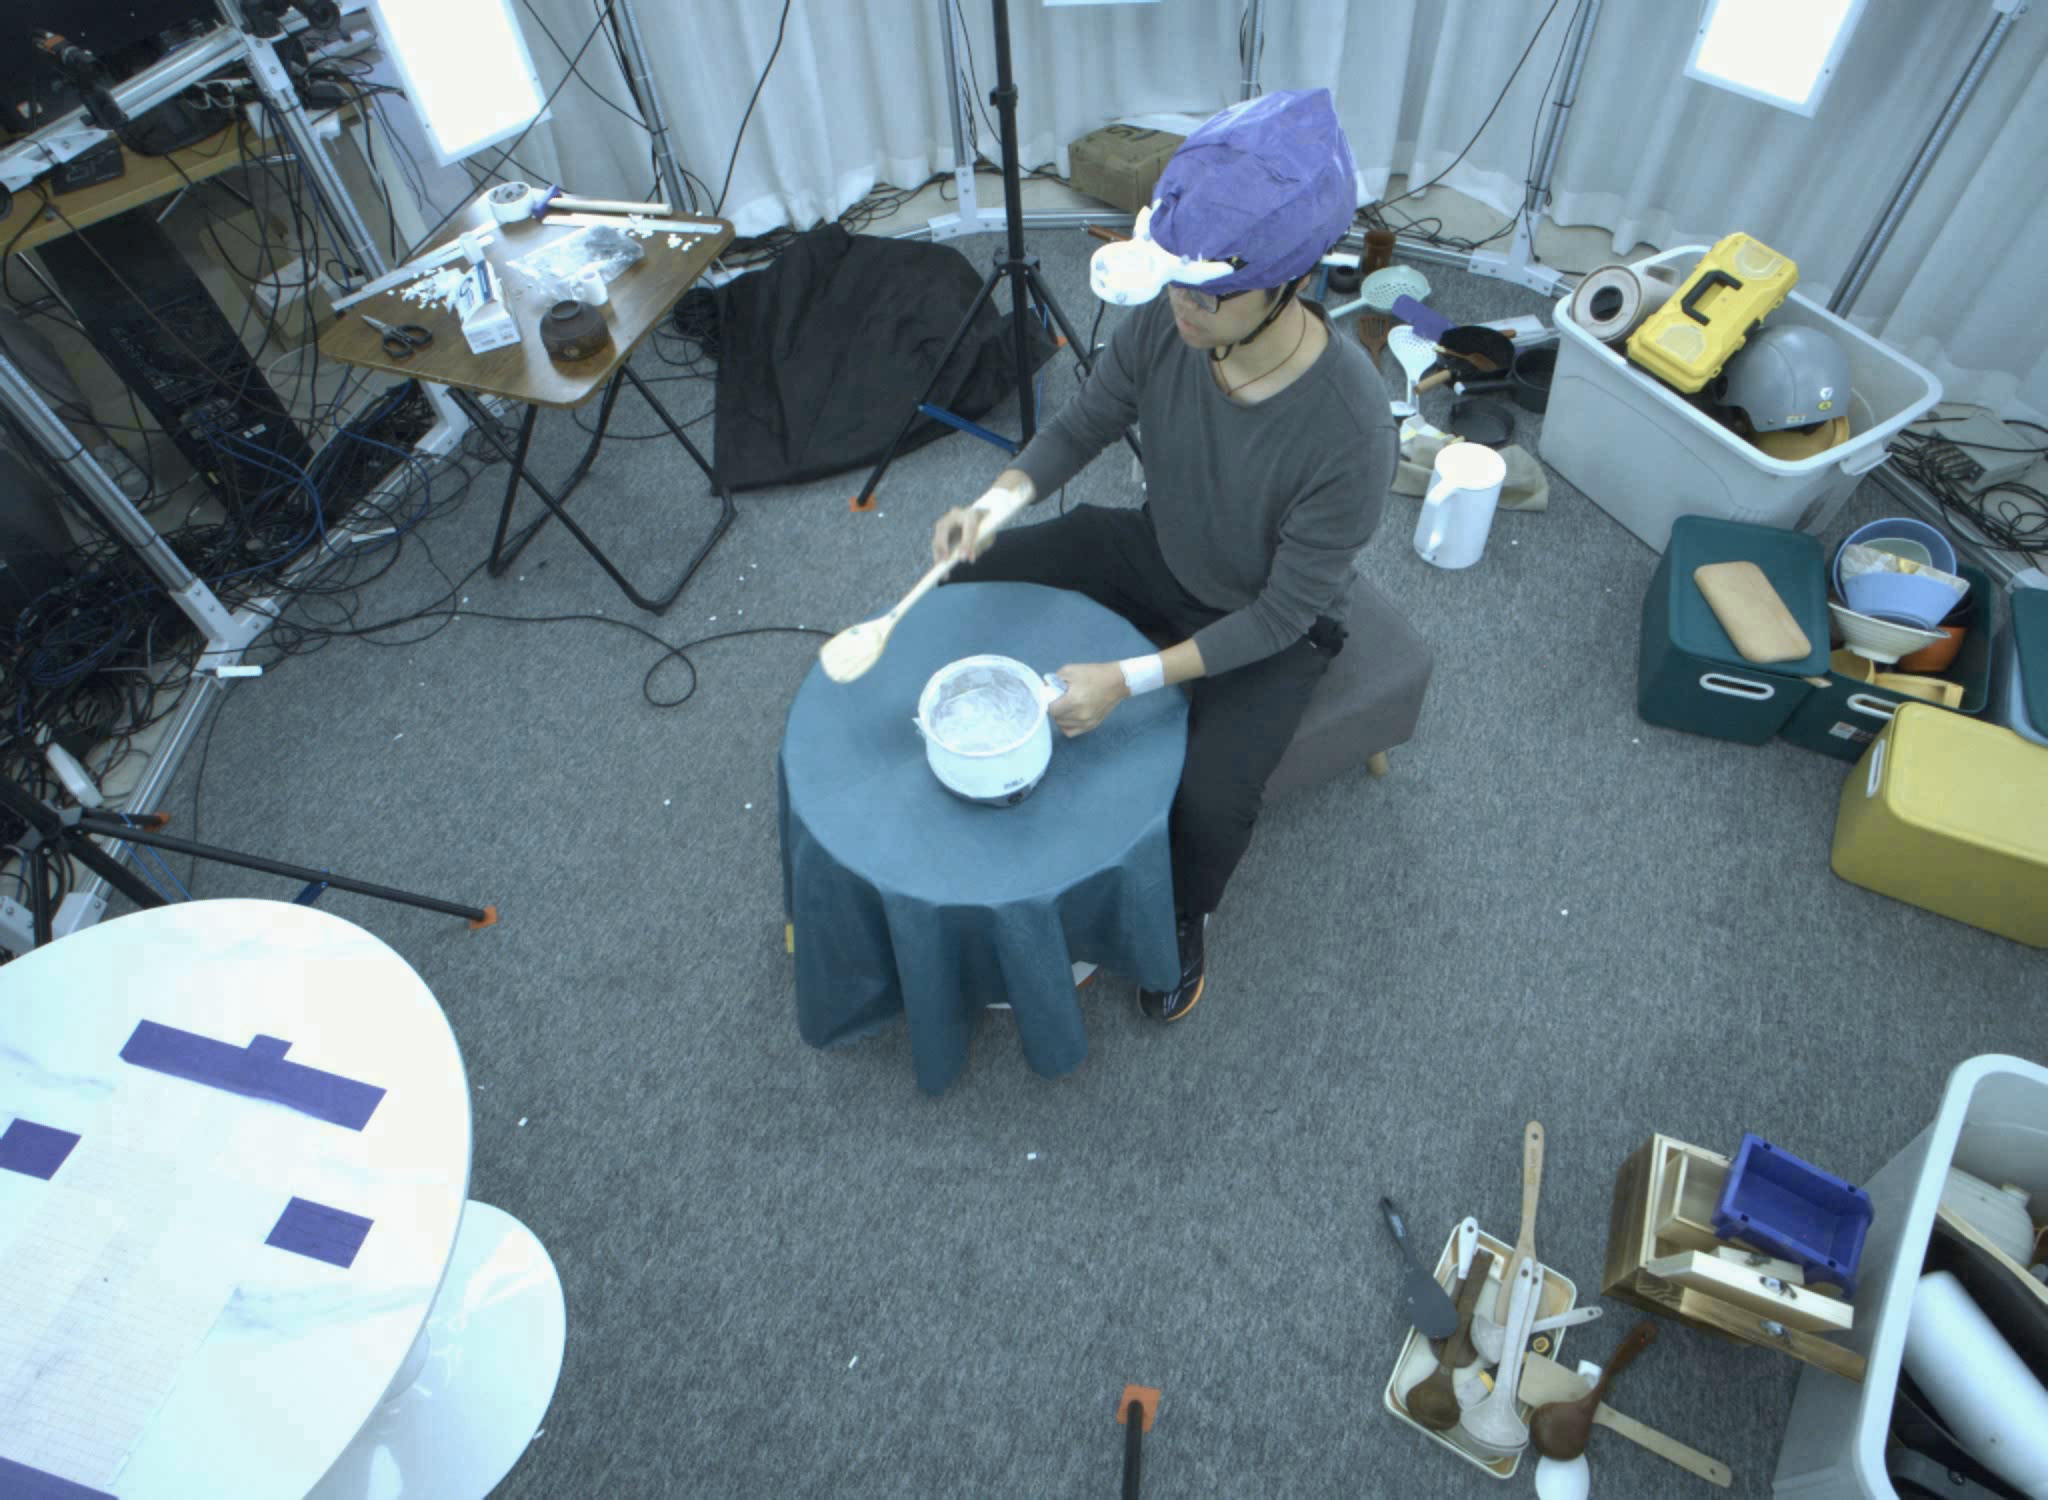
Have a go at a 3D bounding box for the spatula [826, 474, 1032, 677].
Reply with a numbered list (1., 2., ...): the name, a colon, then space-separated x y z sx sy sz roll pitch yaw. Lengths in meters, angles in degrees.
1. spatula: -0.134 -0.252 1.723 0.390 0.019 0.093 -45 49 5

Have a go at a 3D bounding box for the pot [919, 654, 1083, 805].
1. pot: -0.027 -0.037 1.738 0.235 0.138 0.175 -23 57 -14
